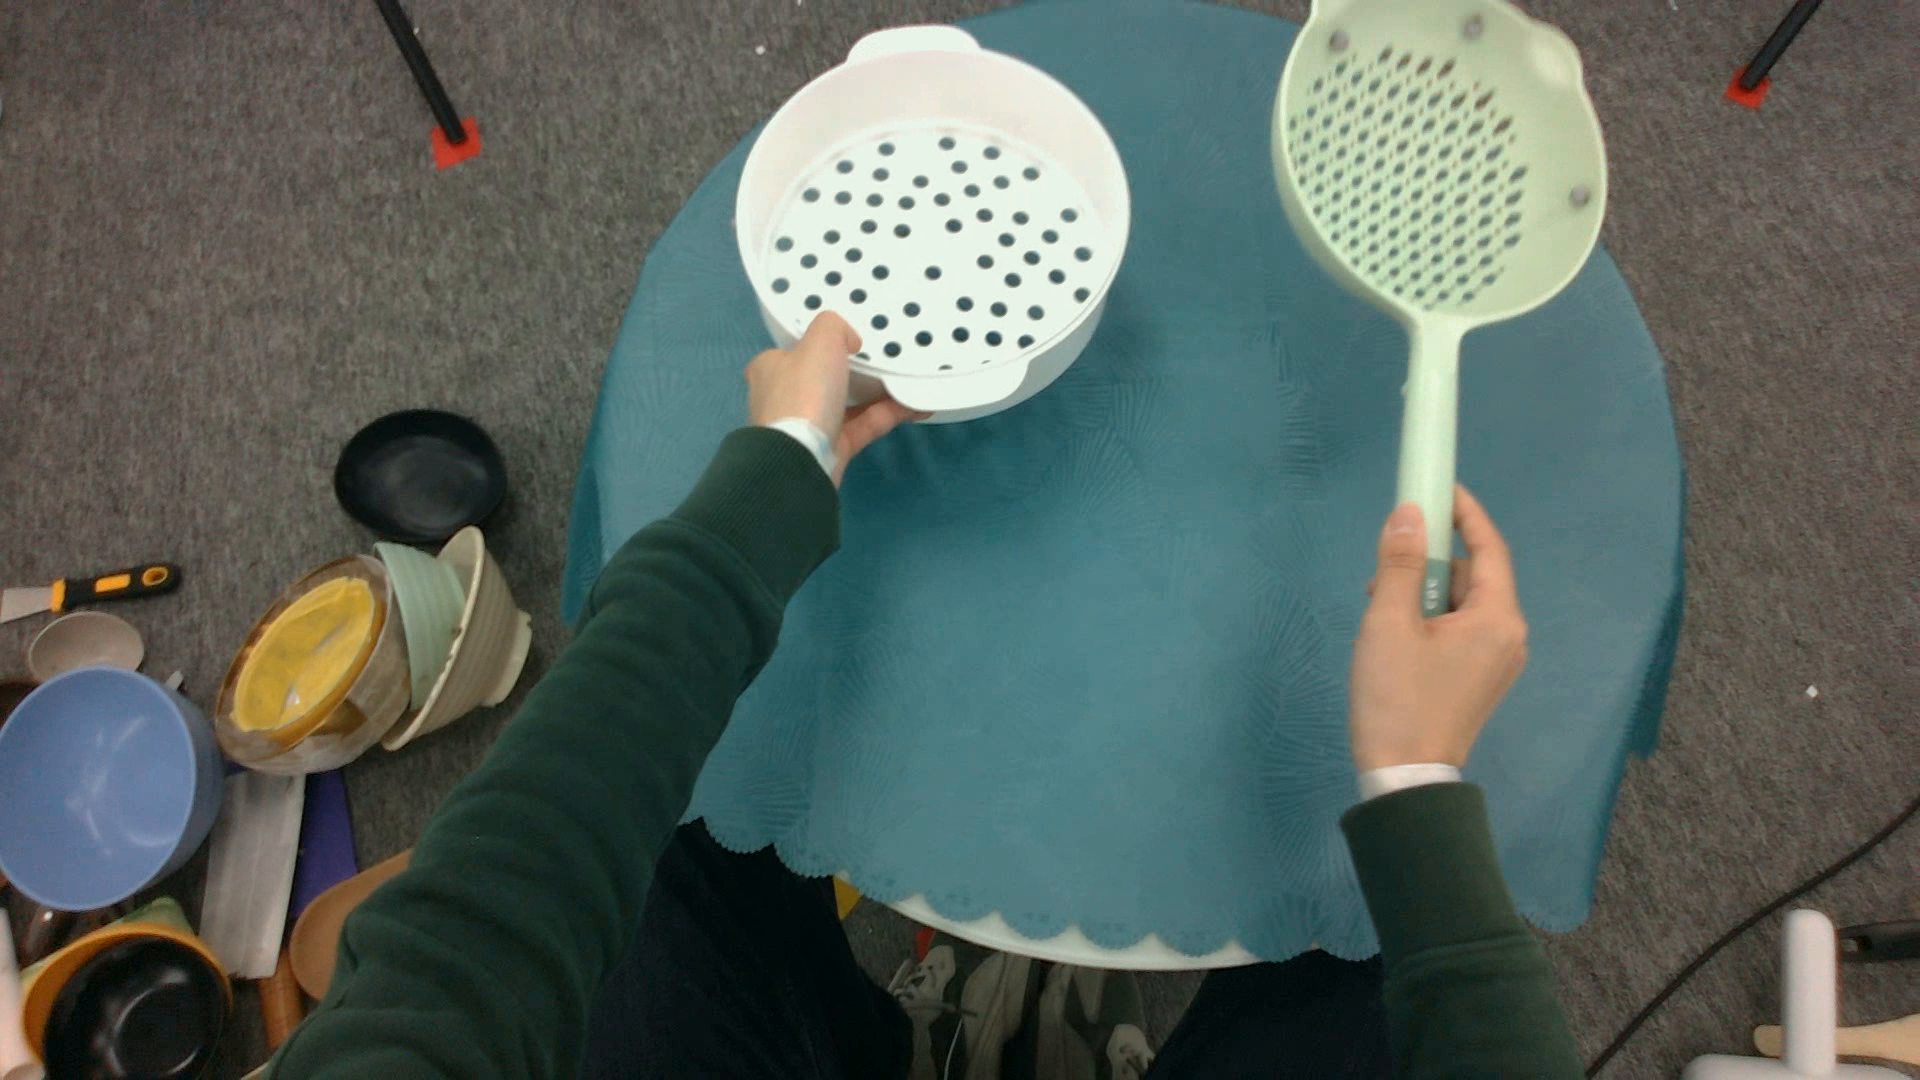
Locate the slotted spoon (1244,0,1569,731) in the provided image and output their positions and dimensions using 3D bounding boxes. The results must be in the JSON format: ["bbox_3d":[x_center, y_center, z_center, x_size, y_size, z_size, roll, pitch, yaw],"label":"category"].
[{"bbox_3d":[0.203,-0.094,0.641,0.169,0.075,0.360,9,67,-11],"label":"slotted spoon"}]

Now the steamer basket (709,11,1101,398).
[{"bbox_3d":[-0.028,-0.172,0.735,0.202,0.069,0.231,-9,69,-5],"label":"steamer basket"}]
